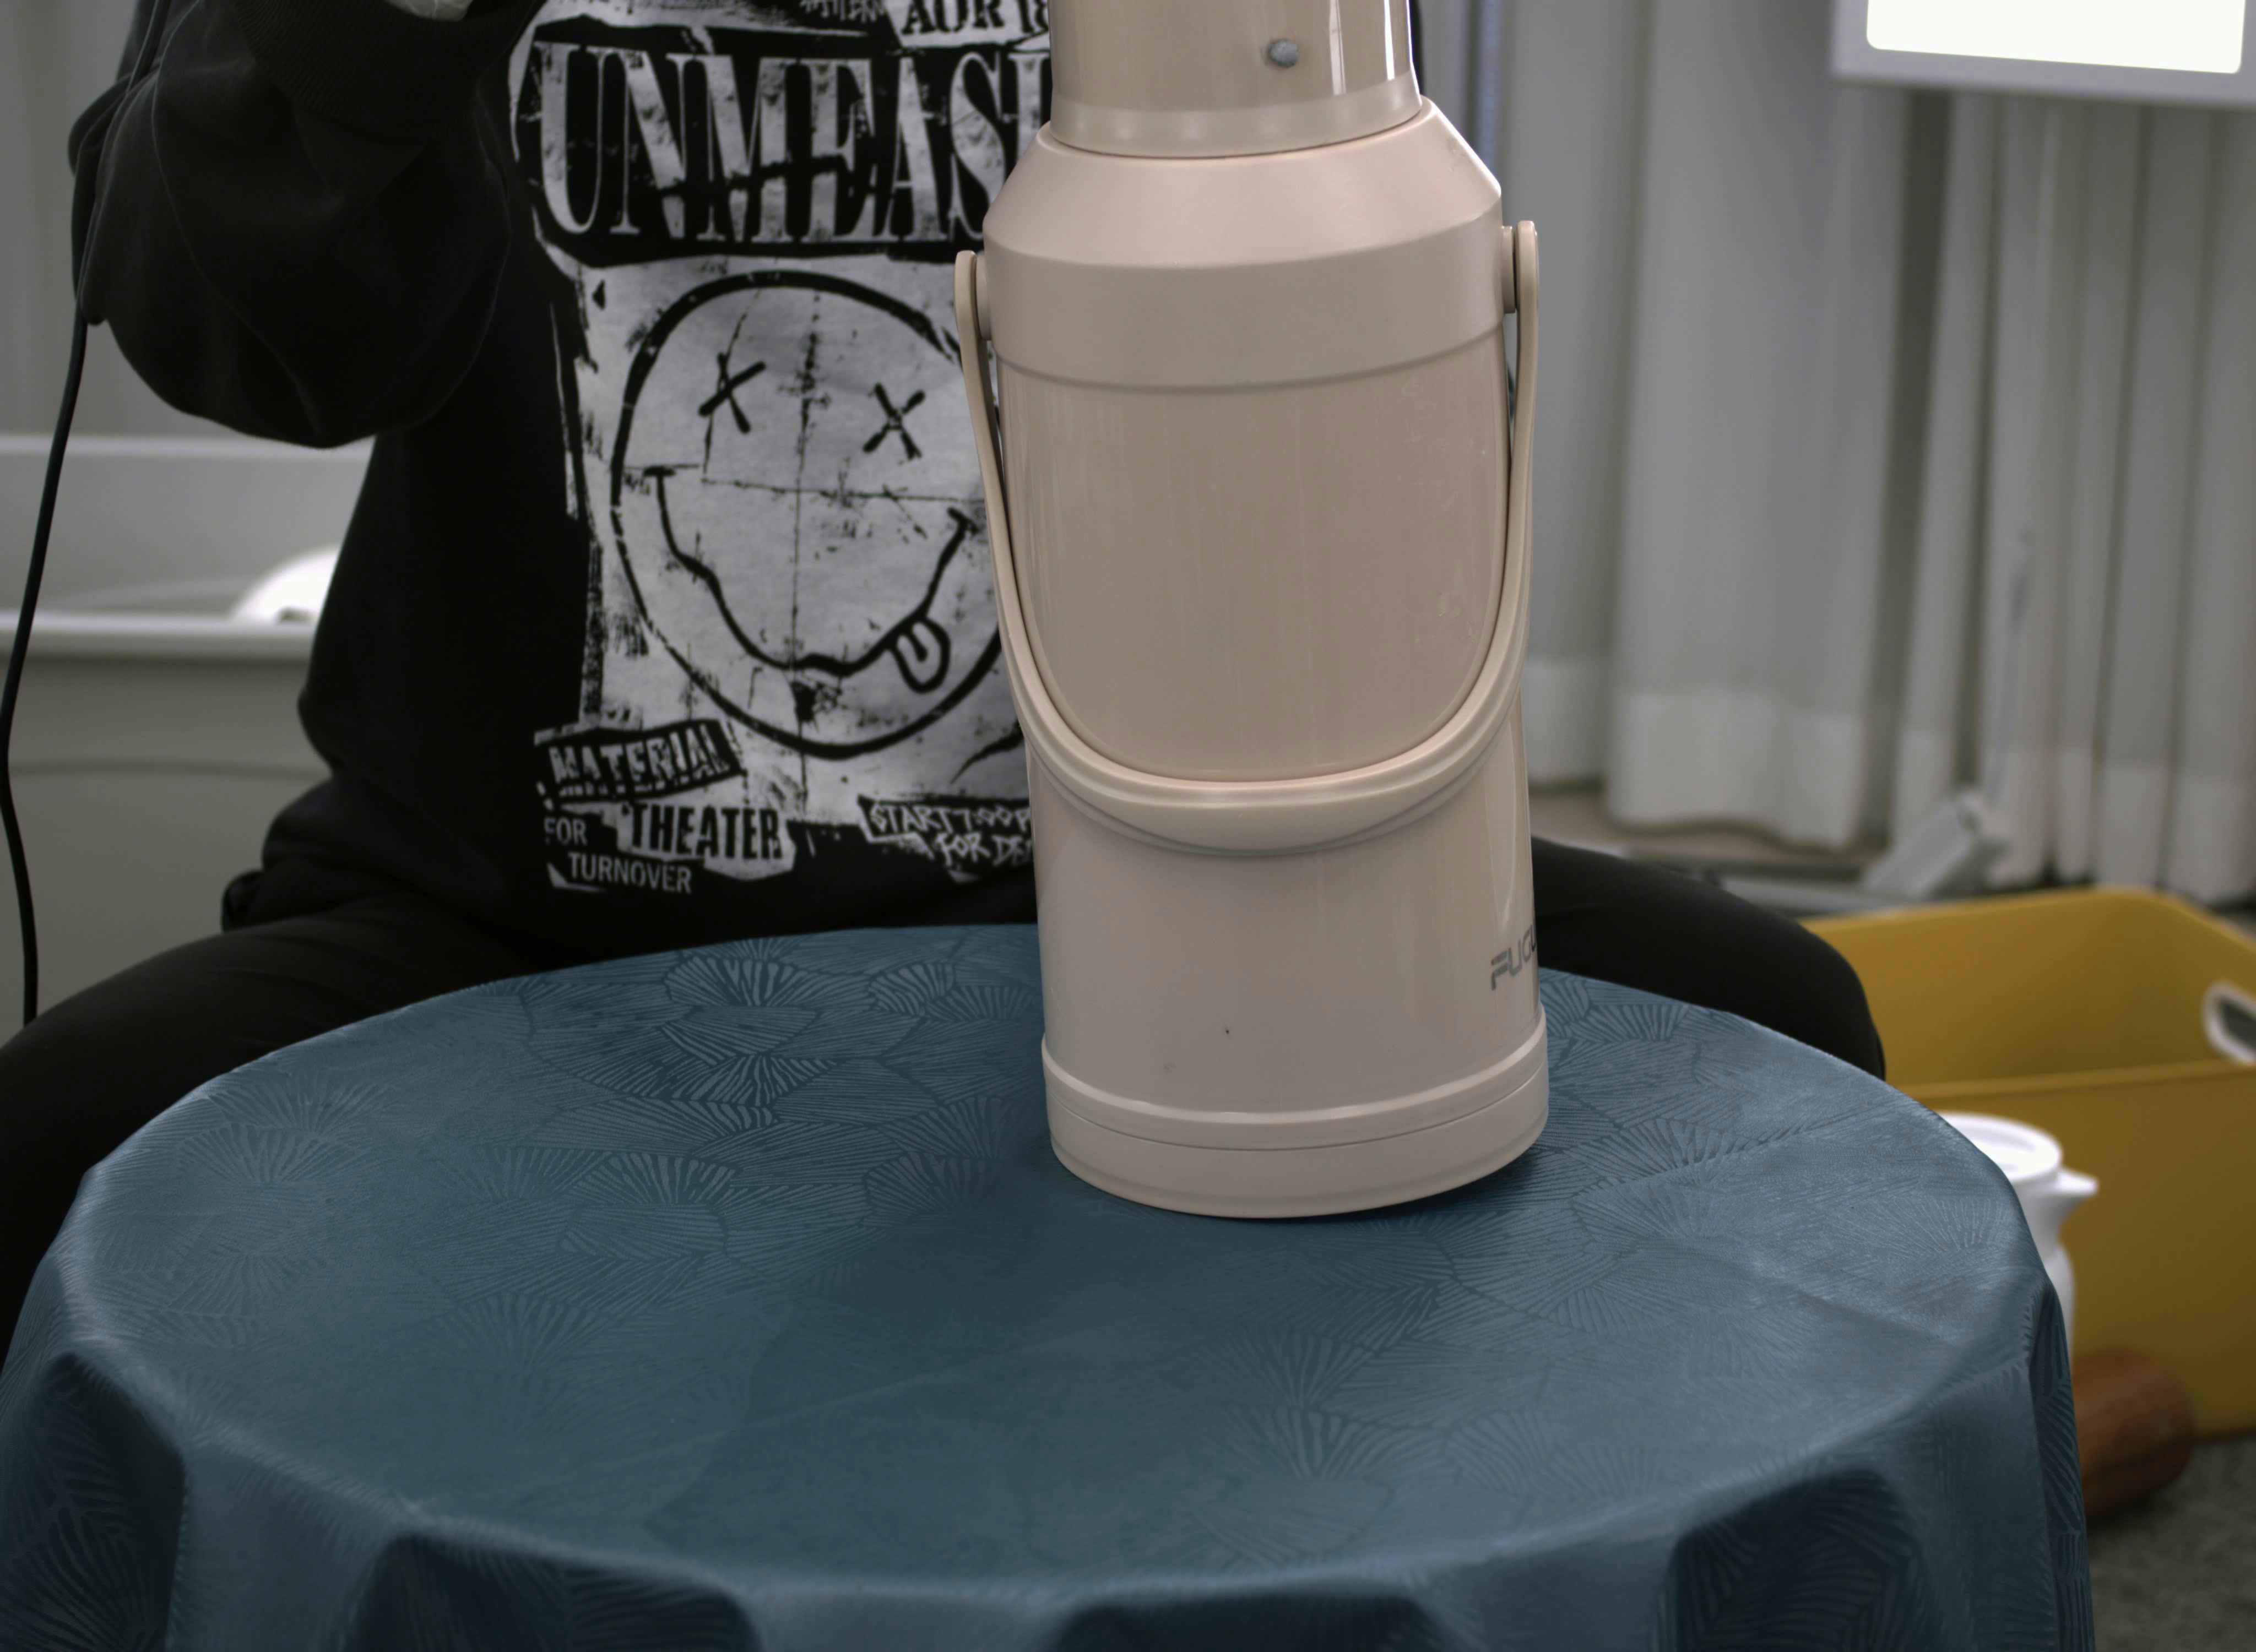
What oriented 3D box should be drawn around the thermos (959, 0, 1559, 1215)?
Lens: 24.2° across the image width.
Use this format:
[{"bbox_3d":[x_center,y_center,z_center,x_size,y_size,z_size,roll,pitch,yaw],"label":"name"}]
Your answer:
[{"bbox_3d":[0.045,-0.099,1.617,0.174,0.410,0.206,-4,20,4],"label":"thermos"}]
